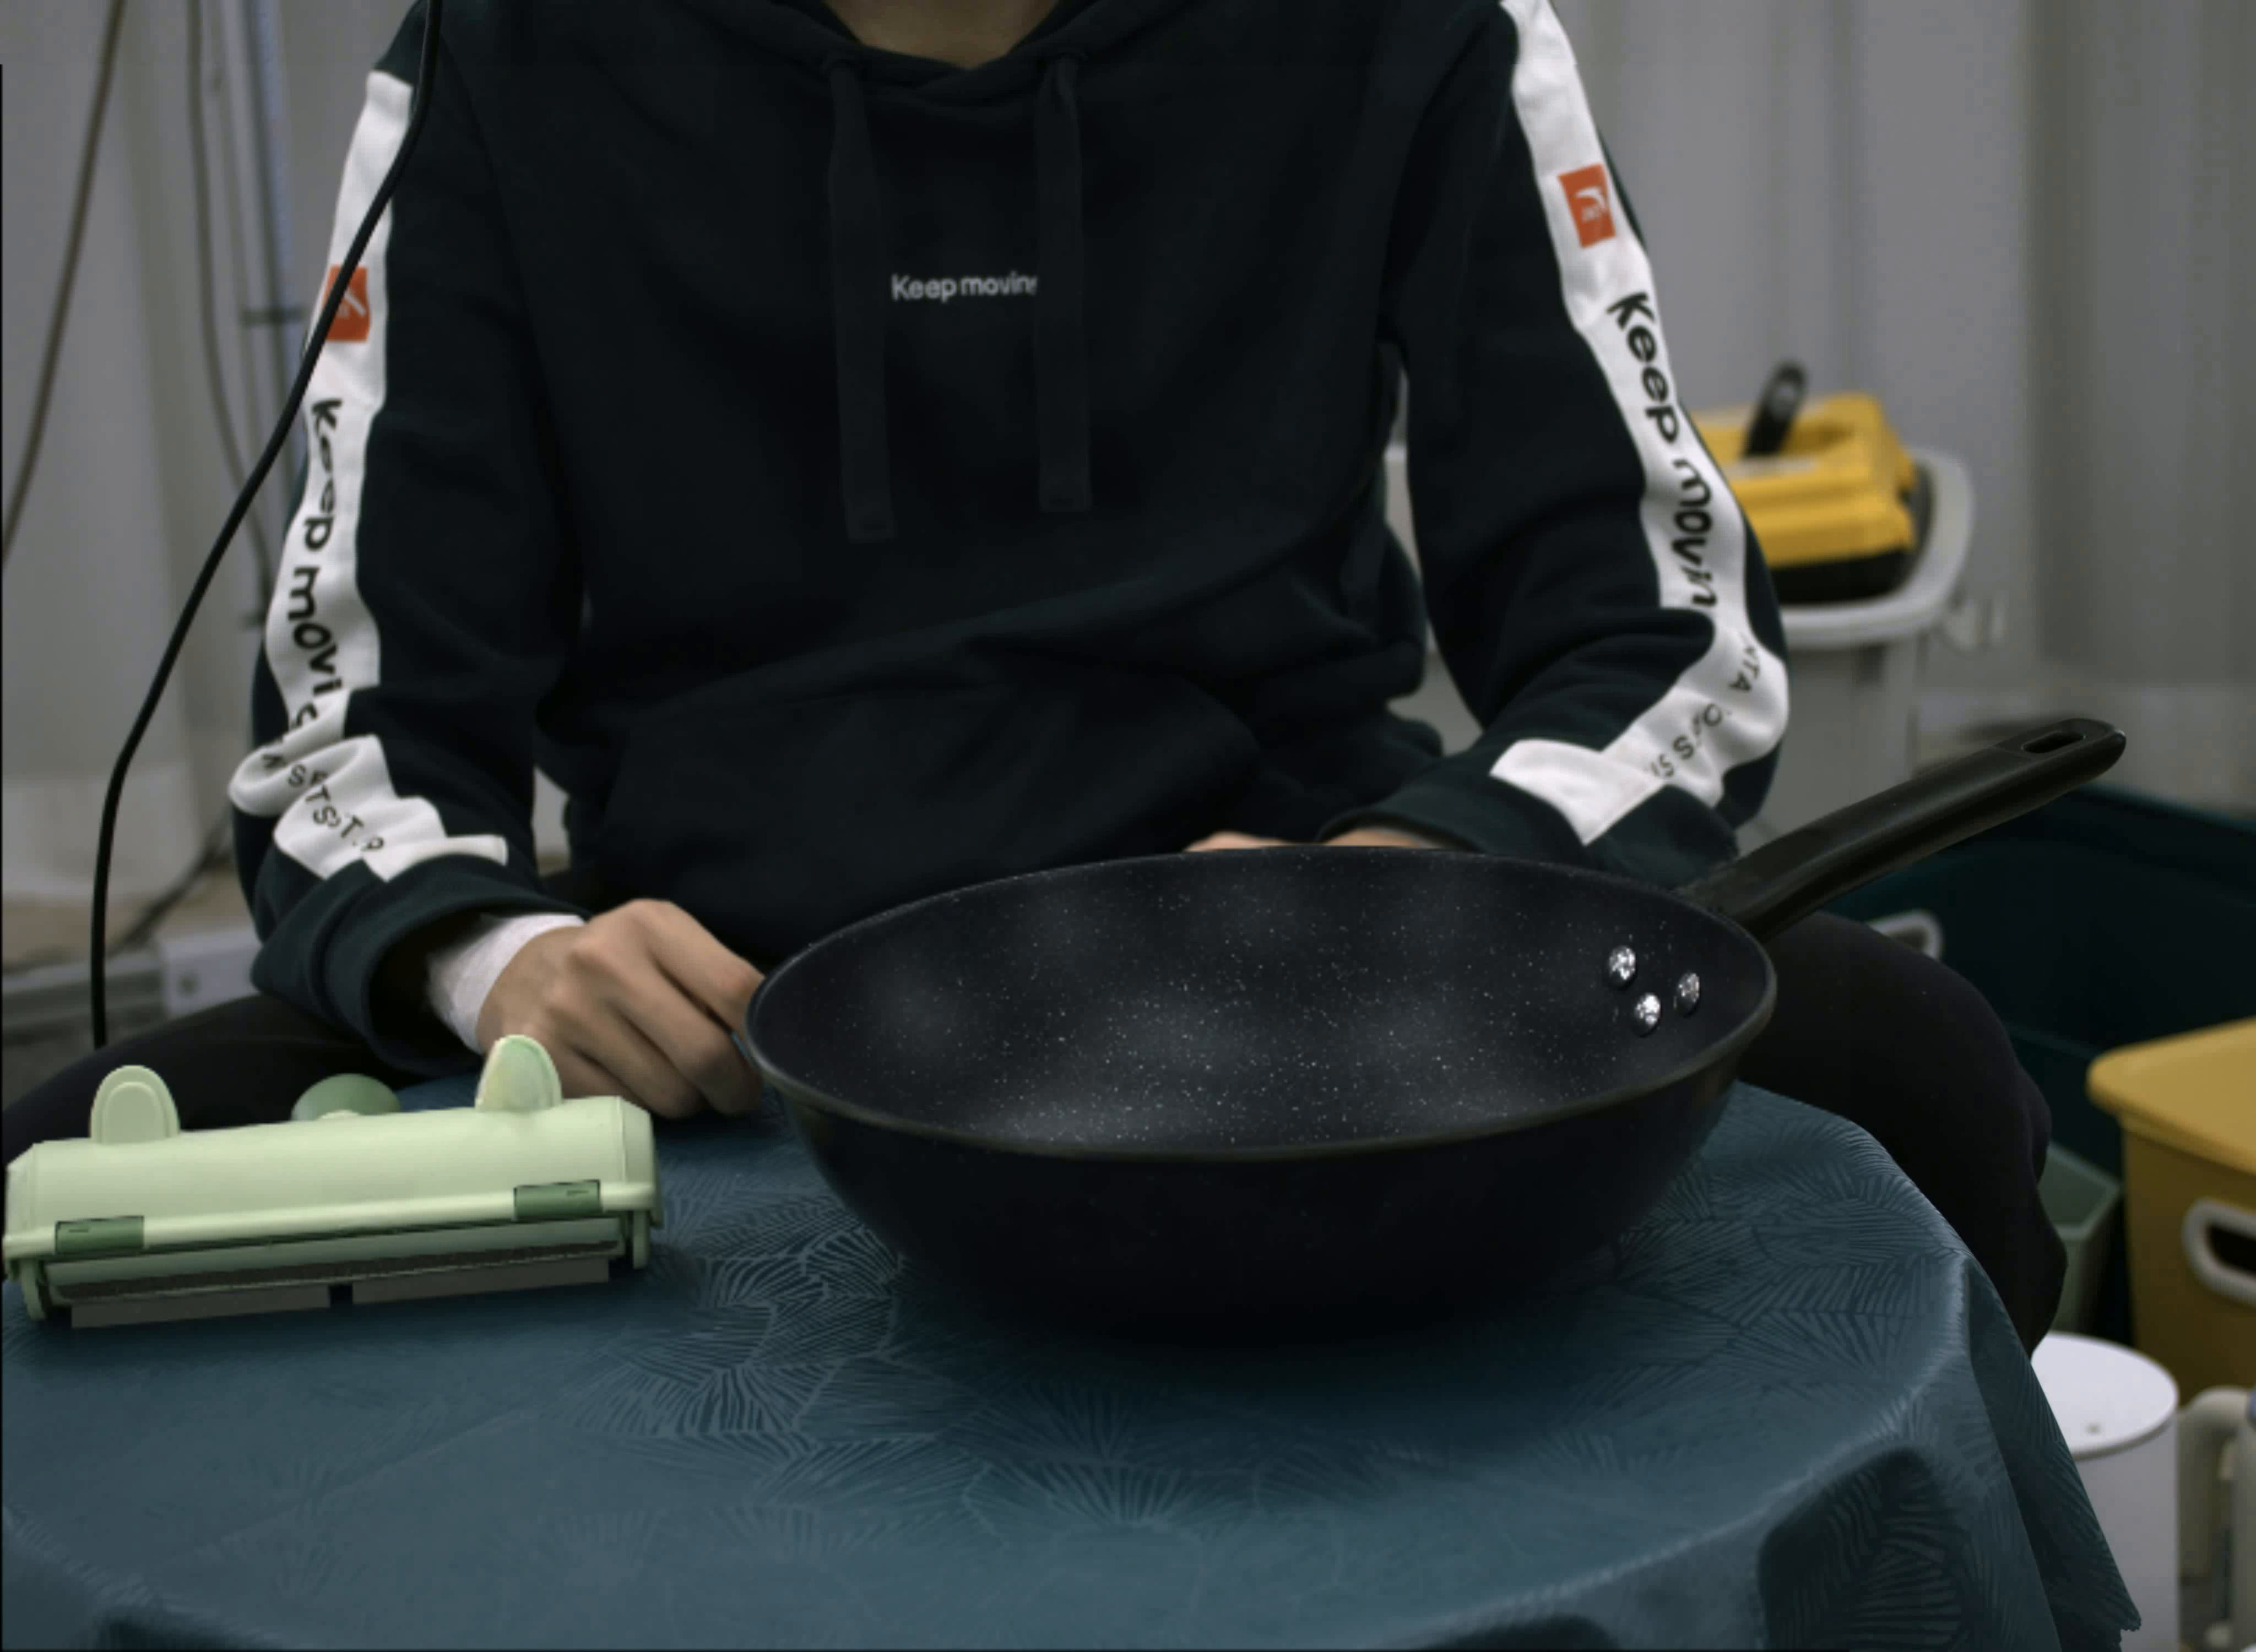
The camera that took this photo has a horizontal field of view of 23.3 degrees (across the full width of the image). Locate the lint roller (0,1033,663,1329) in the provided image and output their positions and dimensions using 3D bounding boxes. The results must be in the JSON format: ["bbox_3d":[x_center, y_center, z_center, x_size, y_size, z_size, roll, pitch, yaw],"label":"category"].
[{"bbox_3d":[-0.247,0.091,1.707,0.198,0.081,0.185,-5,20,-5],"label":"lint roller"}]

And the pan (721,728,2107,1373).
[{"bbox_3d":[0.107,0.066,1.671,0.475,0.111,0.313,-12,19,-27],"label":"pan"}]
